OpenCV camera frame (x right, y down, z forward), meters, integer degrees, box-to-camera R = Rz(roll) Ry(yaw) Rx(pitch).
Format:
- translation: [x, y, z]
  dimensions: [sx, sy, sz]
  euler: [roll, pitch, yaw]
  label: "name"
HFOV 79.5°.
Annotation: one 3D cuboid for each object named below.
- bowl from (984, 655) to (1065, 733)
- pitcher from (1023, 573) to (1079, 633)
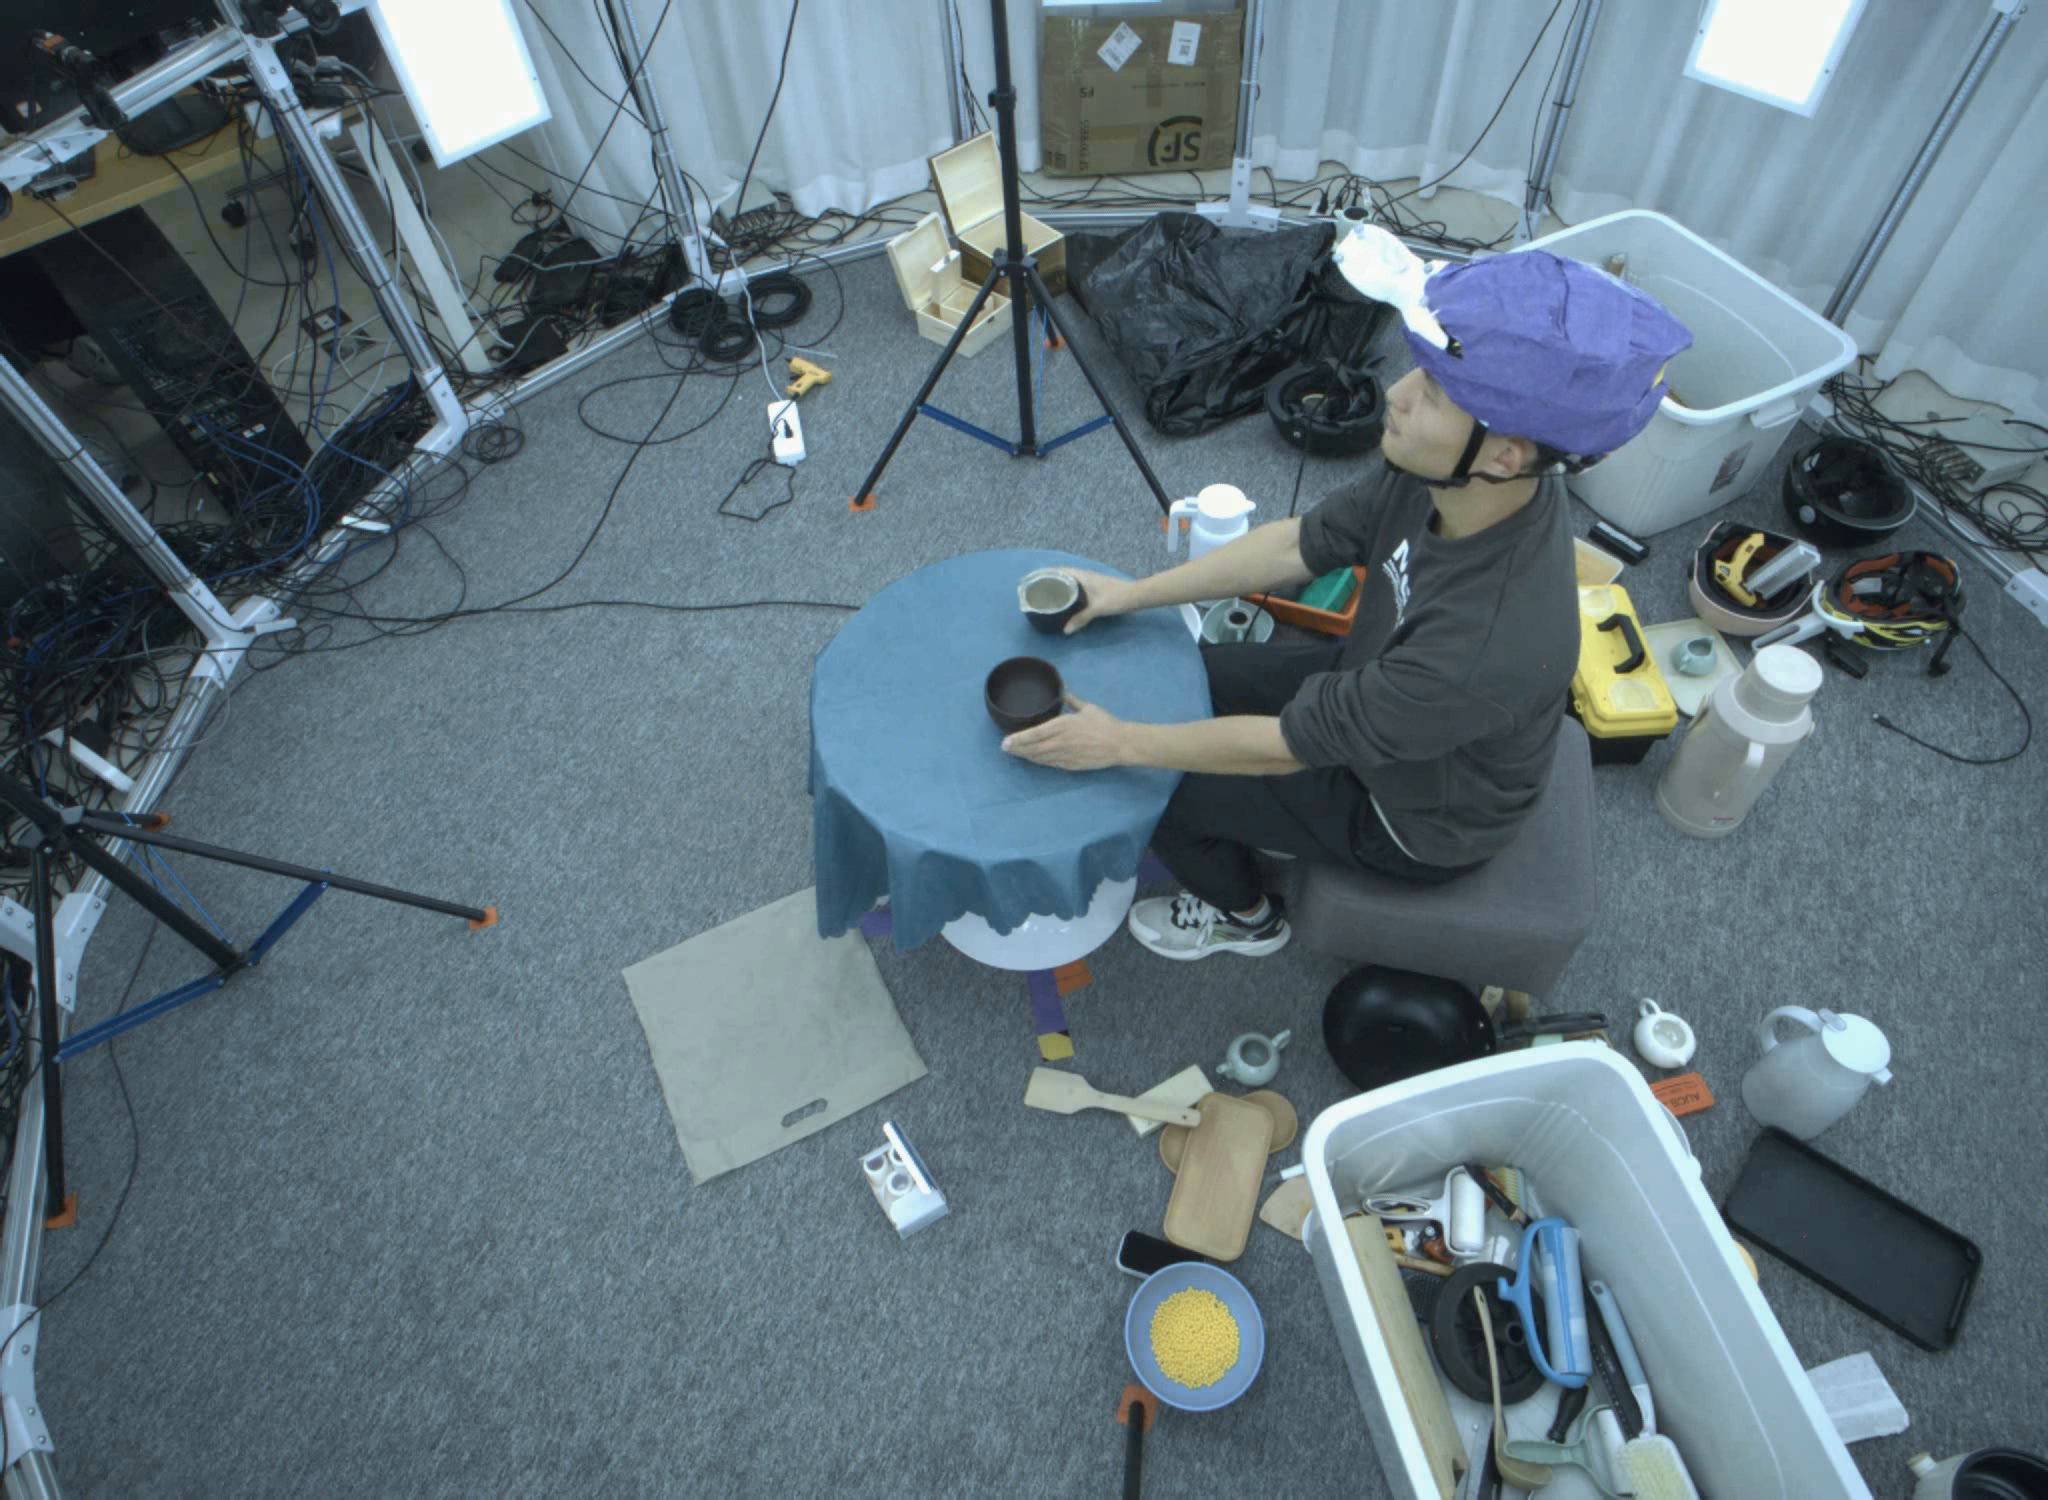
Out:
- translation: [0.002, -0.074, 1.793]
  dimensions: [0.118, 0.070, 0.117]
  euler: [-1, 53, 3]
  label: "bowl"
- translation: [0.038, -0.221, 1.895]
  dimensions: [0.097, 0.072, 0.082]
  euler: [-32, 61, -20]
  label: "pitcher"
